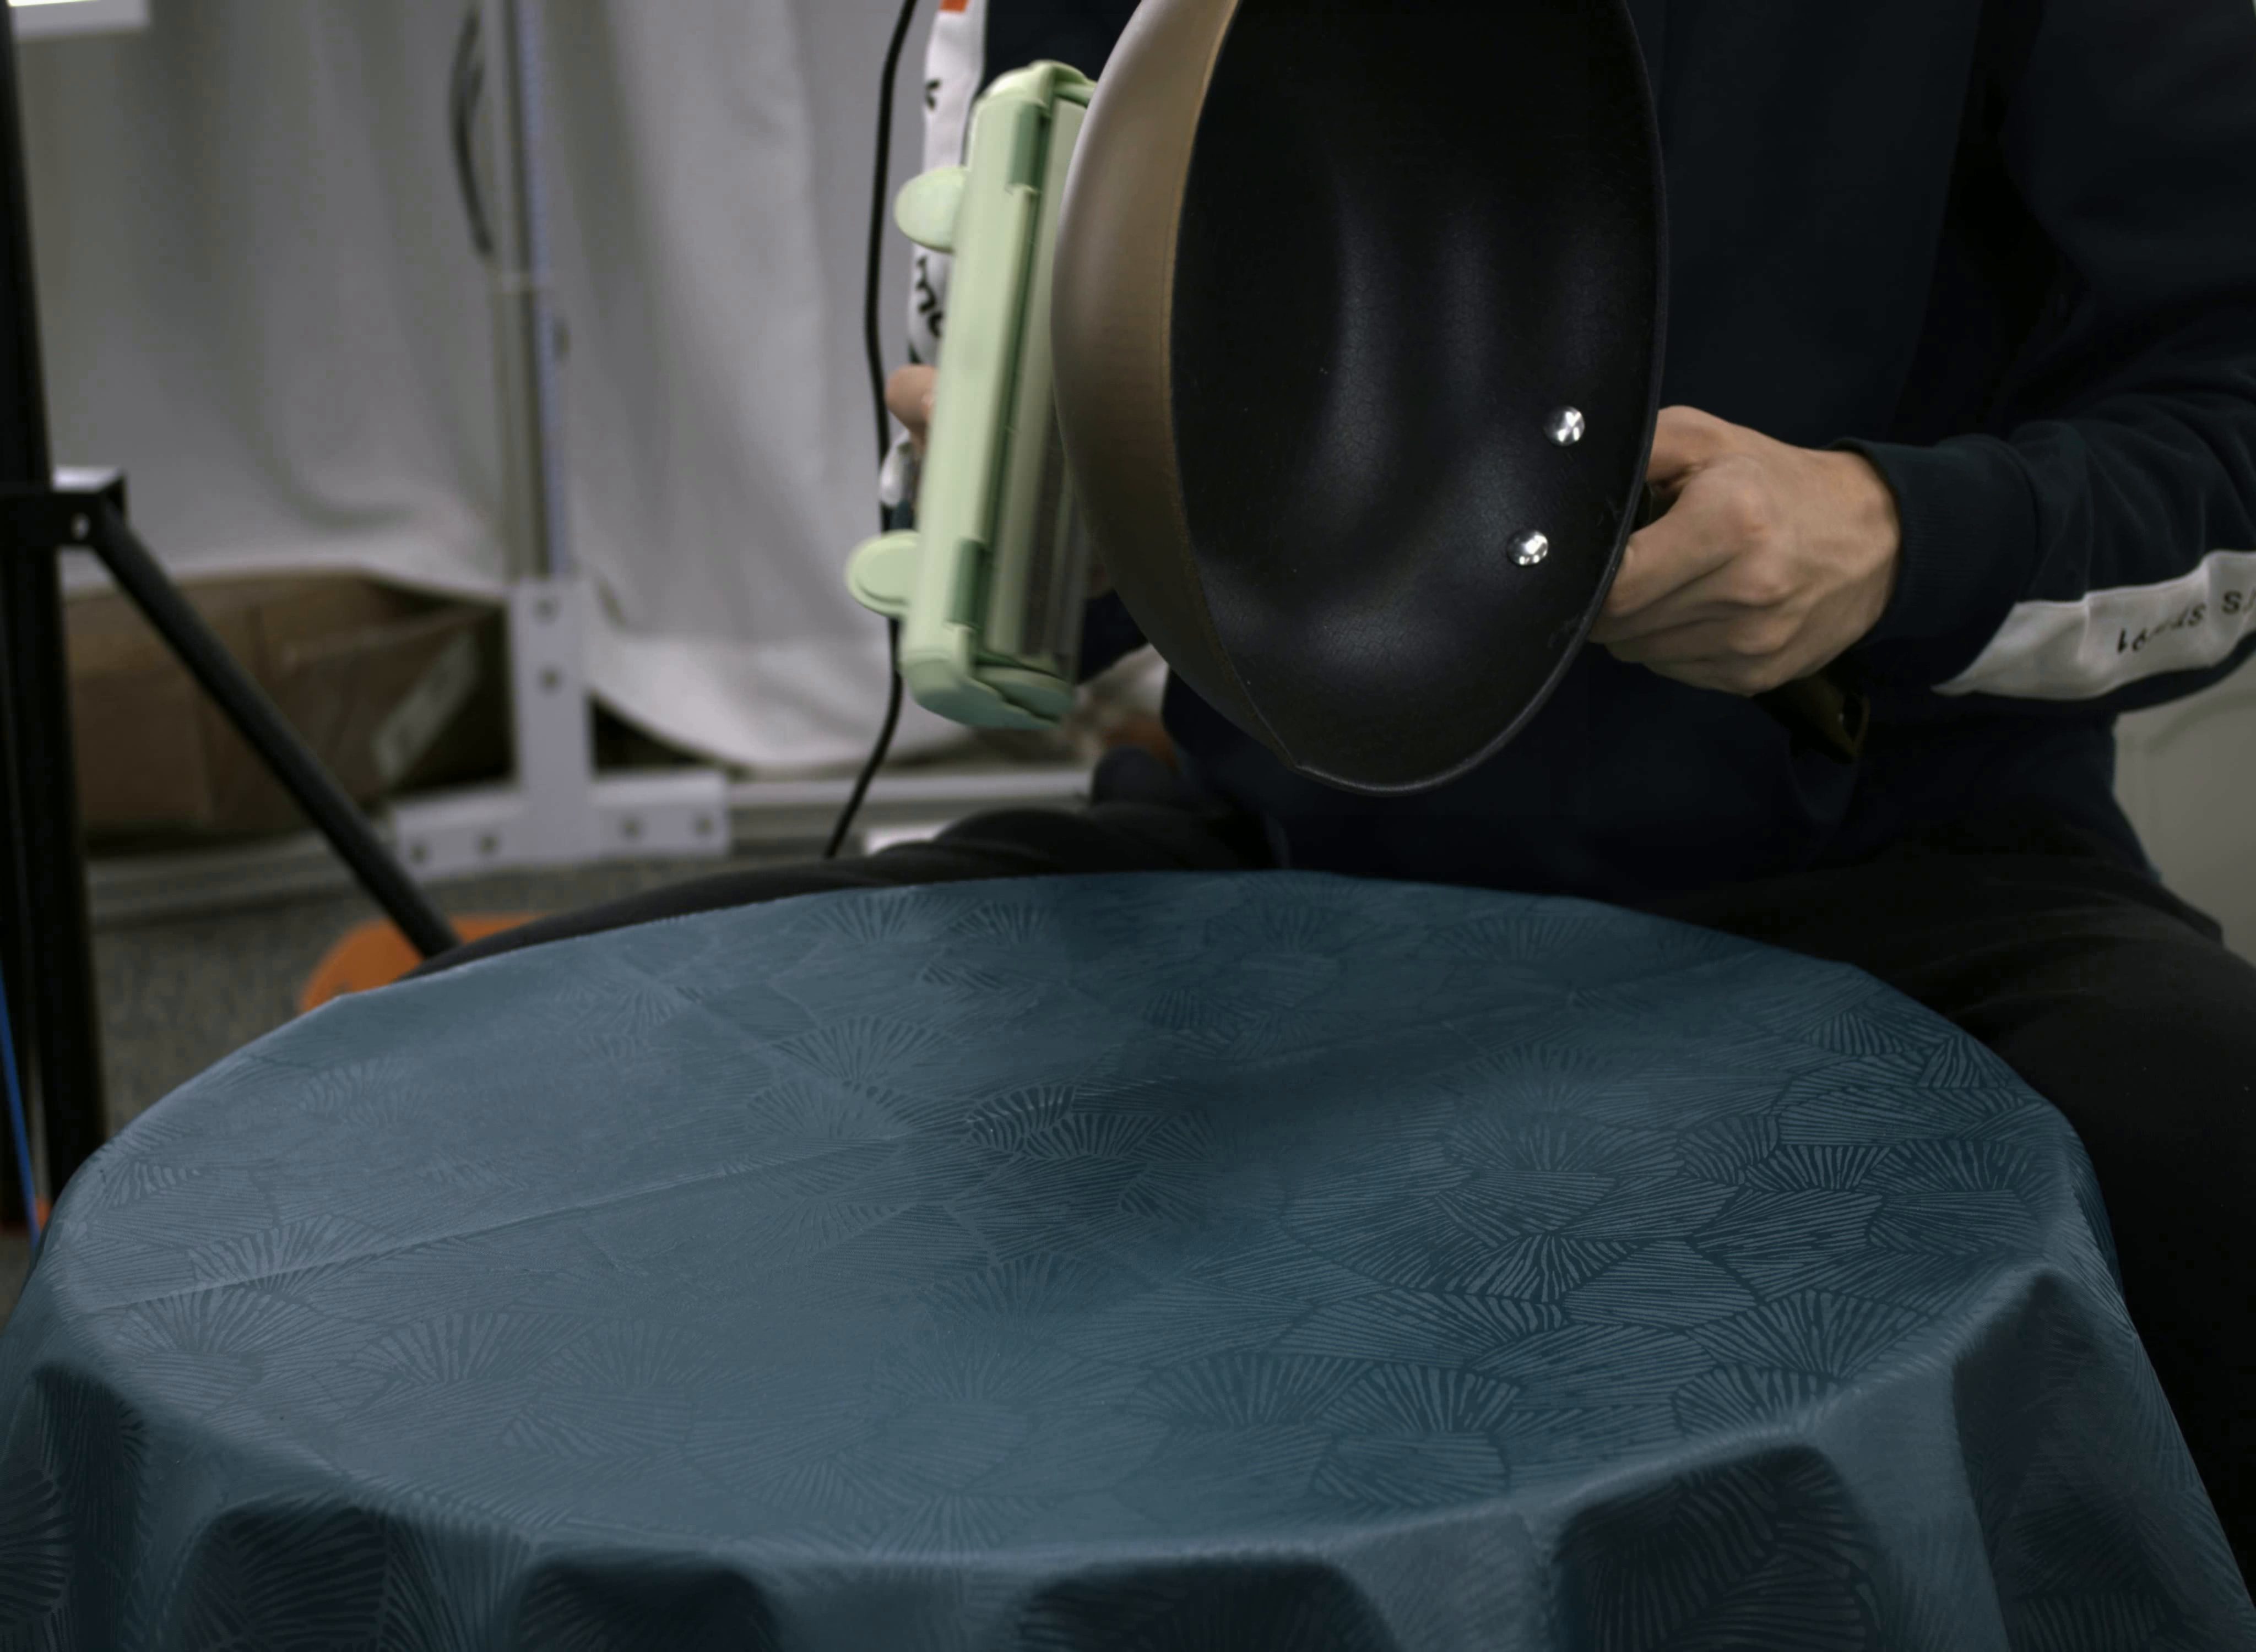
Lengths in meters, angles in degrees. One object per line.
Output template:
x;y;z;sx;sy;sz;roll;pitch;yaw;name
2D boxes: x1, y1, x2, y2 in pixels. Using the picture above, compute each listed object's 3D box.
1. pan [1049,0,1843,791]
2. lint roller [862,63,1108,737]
0.100;-0.121;1.610;0.088;0.289;0.452;7;-18;34;pan
-0.038;-0.117;1.662;0.081;0.200;0.183;7;-12;-3;lint roller
